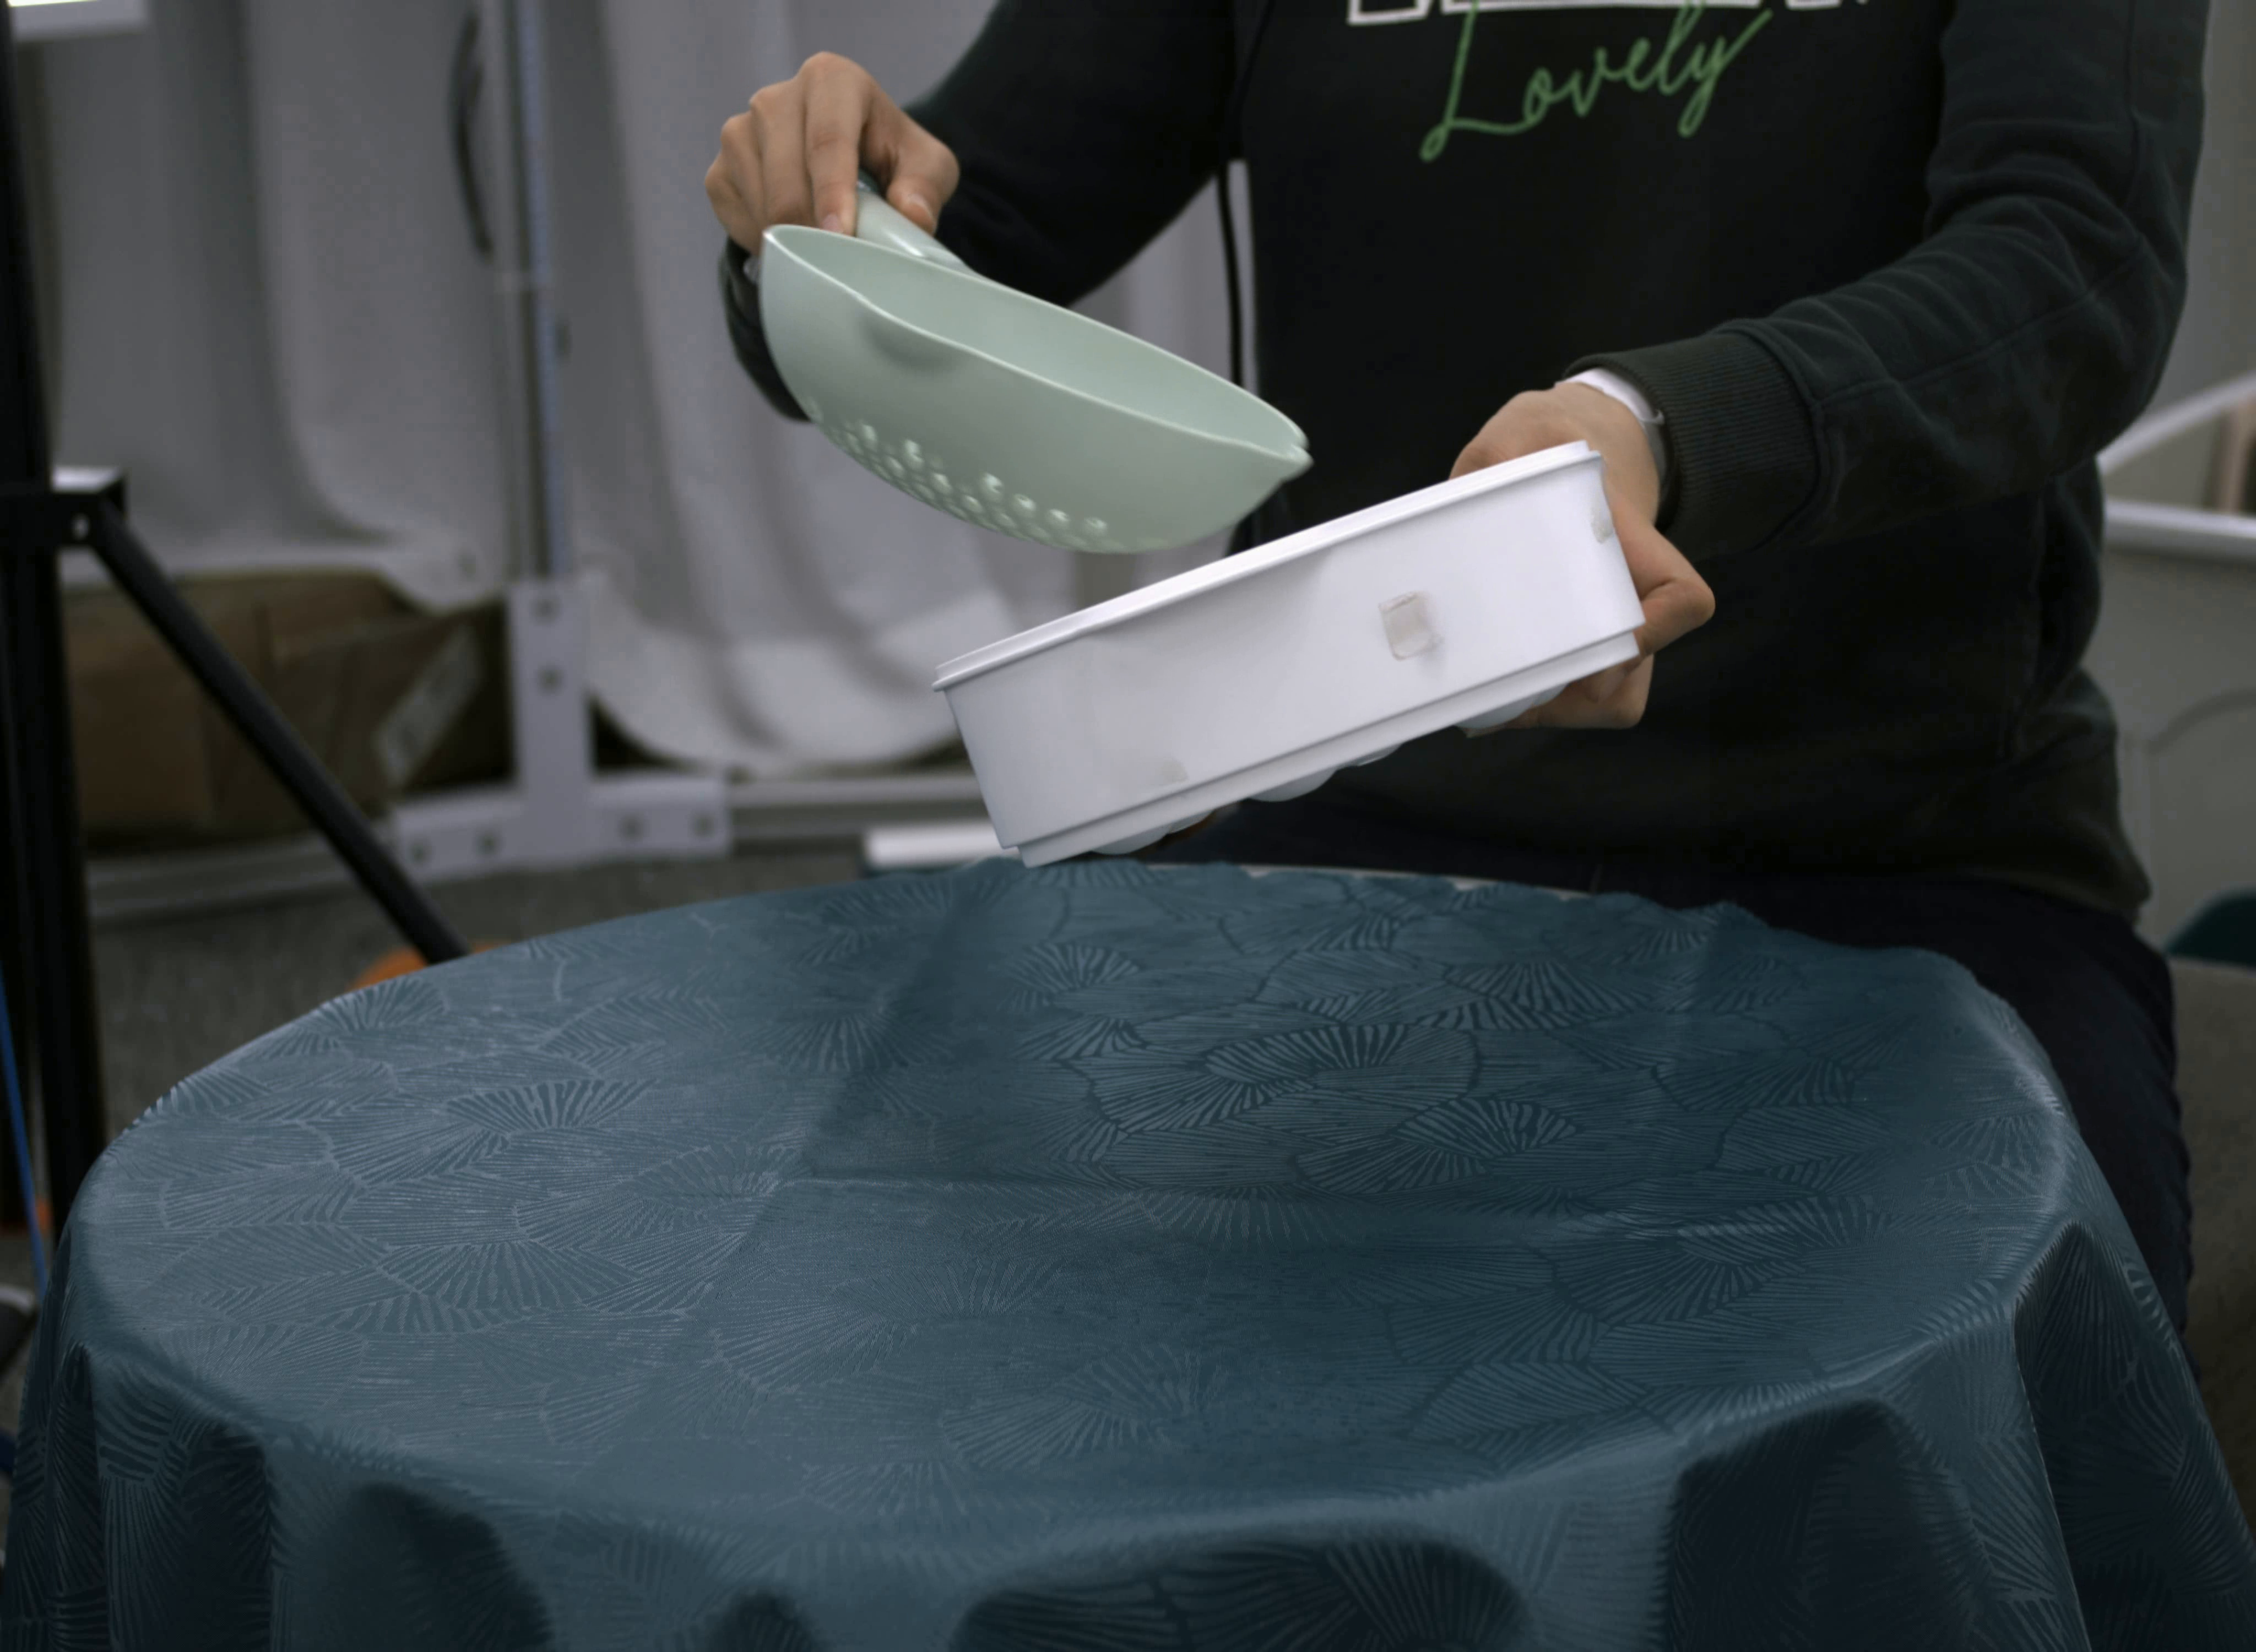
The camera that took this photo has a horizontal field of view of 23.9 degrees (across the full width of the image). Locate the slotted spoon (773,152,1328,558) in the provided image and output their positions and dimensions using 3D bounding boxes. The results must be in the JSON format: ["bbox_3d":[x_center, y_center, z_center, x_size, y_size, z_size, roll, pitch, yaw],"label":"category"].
[{"bbox_3d":[-0.056,-0.162,1.641,0.166,0.076,0.364,18,20,-23],"label":"slotted spoon"}]

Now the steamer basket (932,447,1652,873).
[{"bbox_3d":[0.049,-0.044,1.497,0.203,0.069,0.228,-18,1,12],"label":"steamer basket"}]
